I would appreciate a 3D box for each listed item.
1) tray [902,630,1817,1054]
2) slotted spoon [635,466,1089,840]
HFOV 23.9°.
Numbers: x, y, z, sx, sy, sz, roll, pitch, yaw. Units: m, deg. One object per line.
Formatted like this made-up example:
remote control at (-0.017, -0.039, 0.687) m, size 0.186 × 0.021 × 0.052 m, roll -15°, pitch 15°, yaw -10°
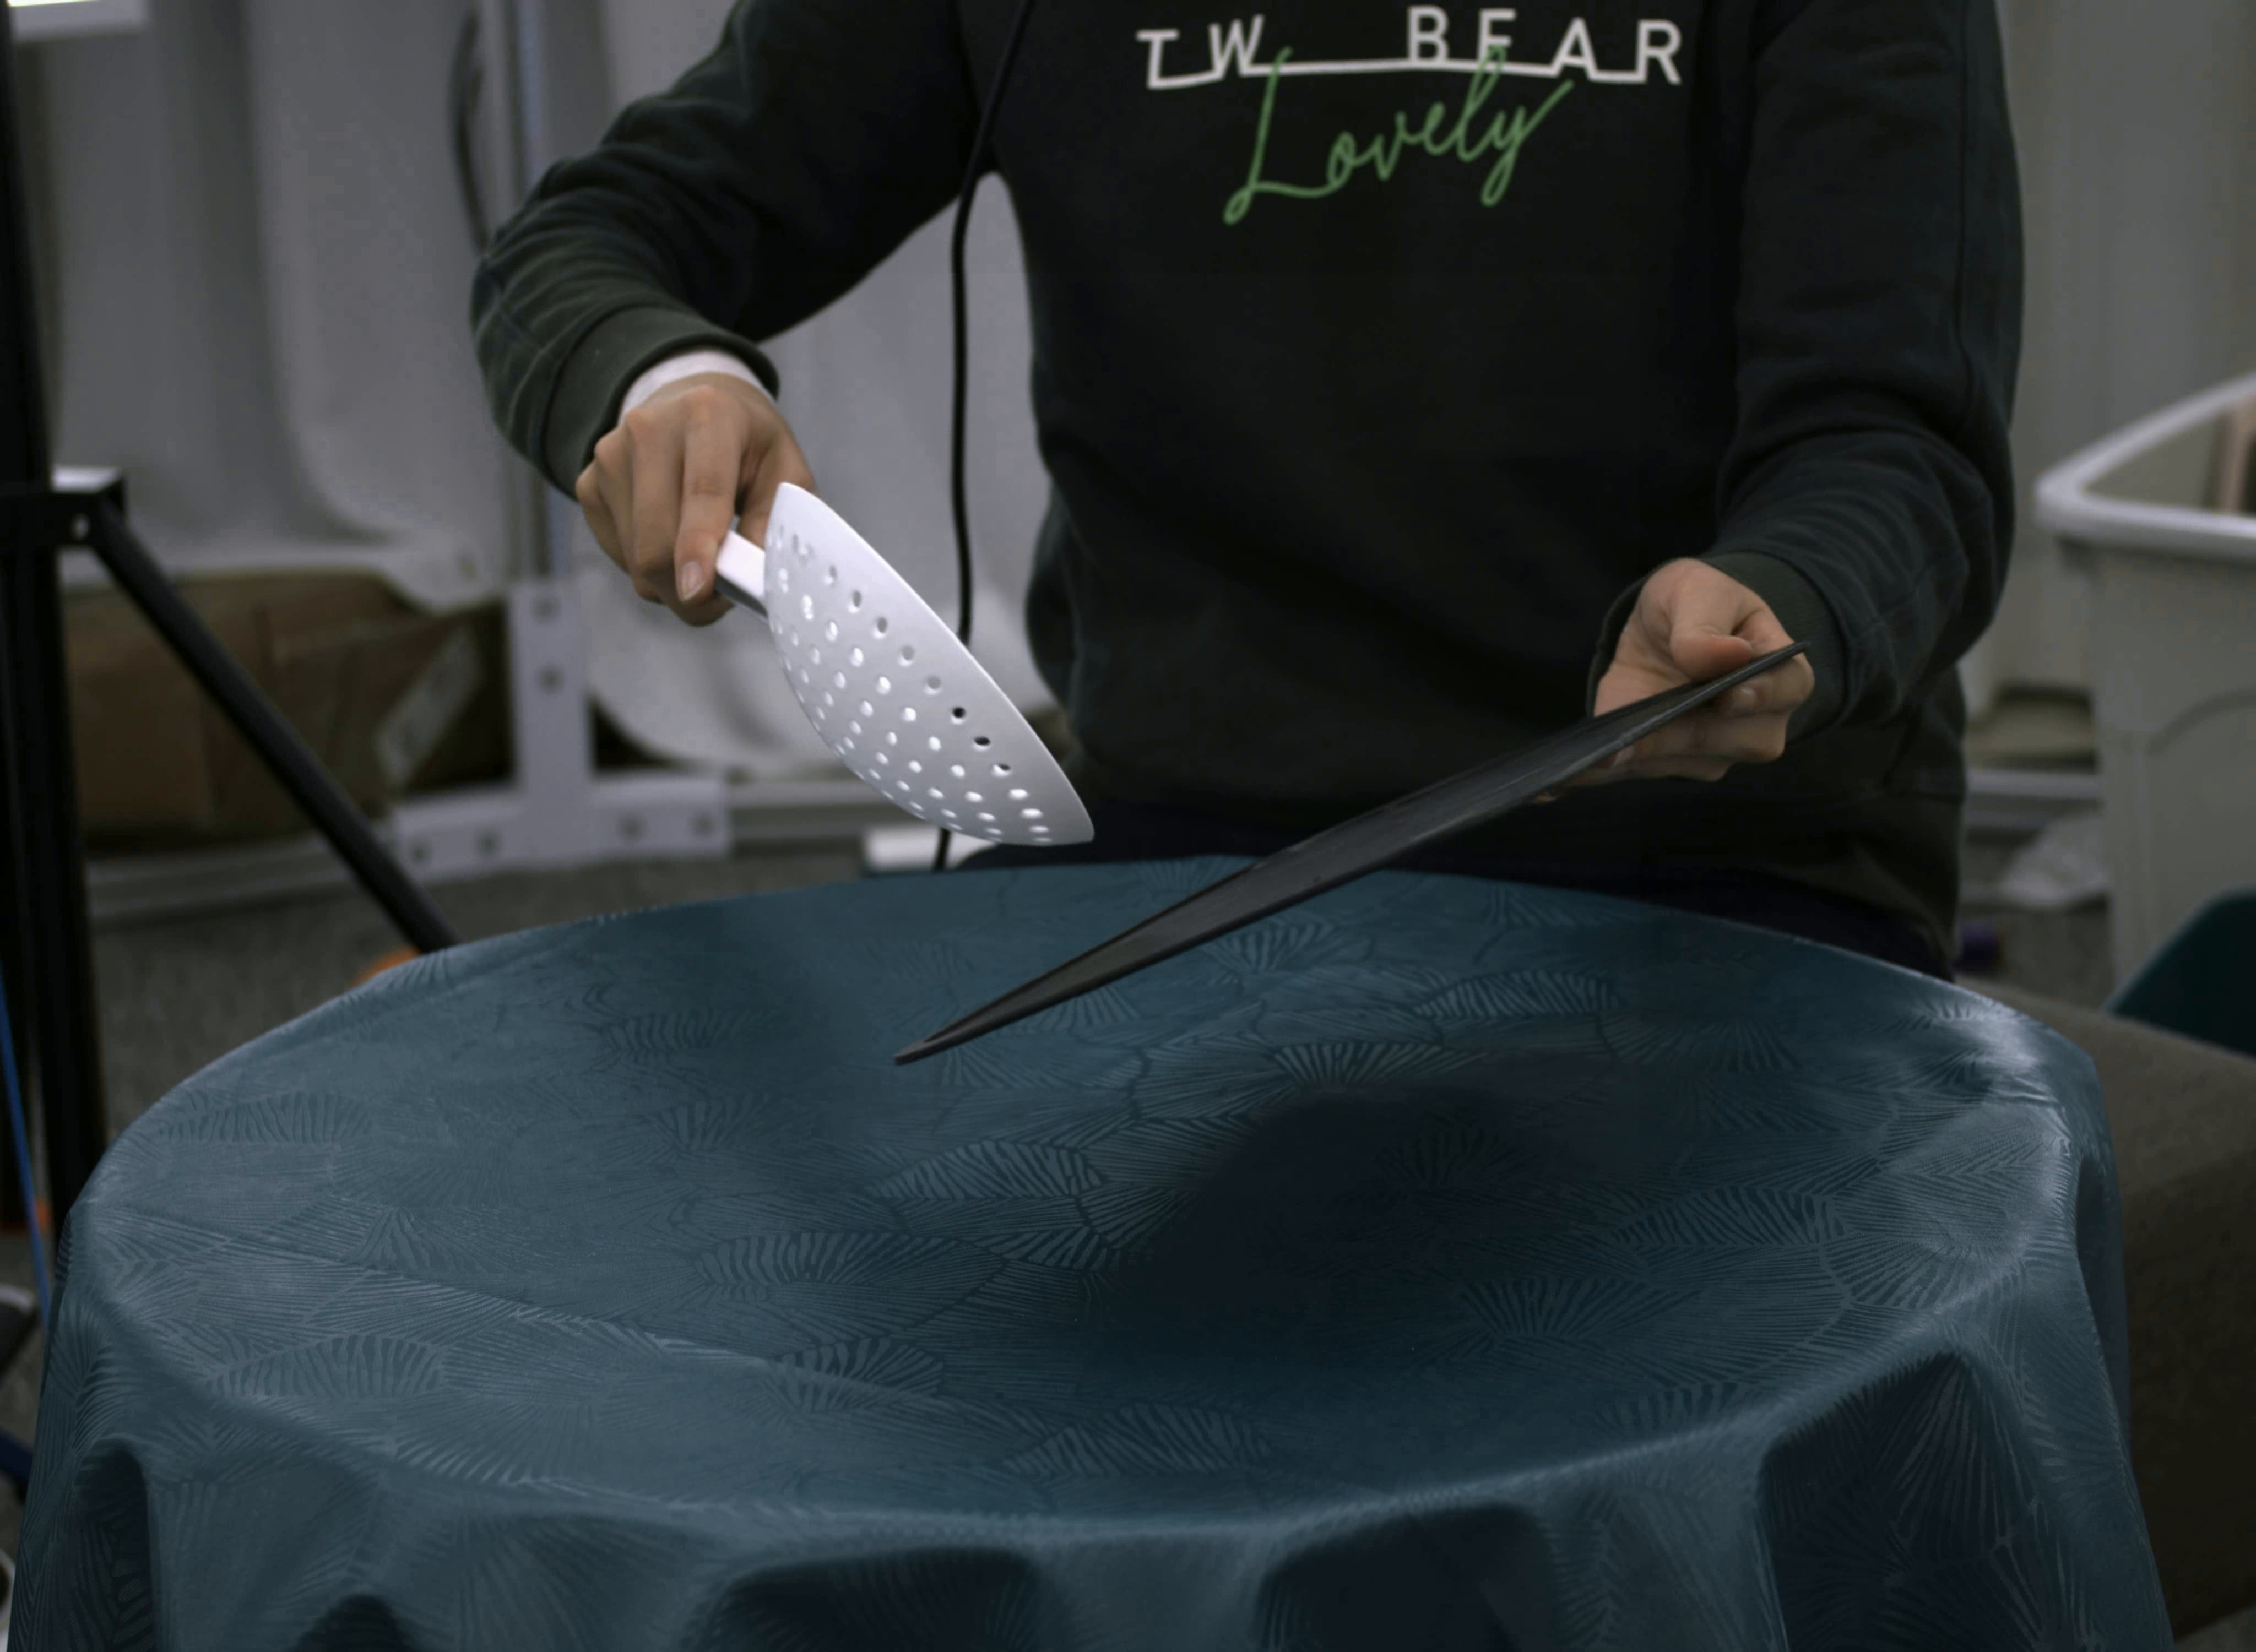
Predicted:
tray at (0.074, 0.001, 1.517) m, size 0.214 × 0.010 × 0.320 m, roll -23°, pitch 1°, yaw 28°
slotted spoon at (-0.097, -0.068, 1.640) m, size 0.045 × 0.134 × 0.355 m, roll -38°, pitch 21°, yaw -4°
